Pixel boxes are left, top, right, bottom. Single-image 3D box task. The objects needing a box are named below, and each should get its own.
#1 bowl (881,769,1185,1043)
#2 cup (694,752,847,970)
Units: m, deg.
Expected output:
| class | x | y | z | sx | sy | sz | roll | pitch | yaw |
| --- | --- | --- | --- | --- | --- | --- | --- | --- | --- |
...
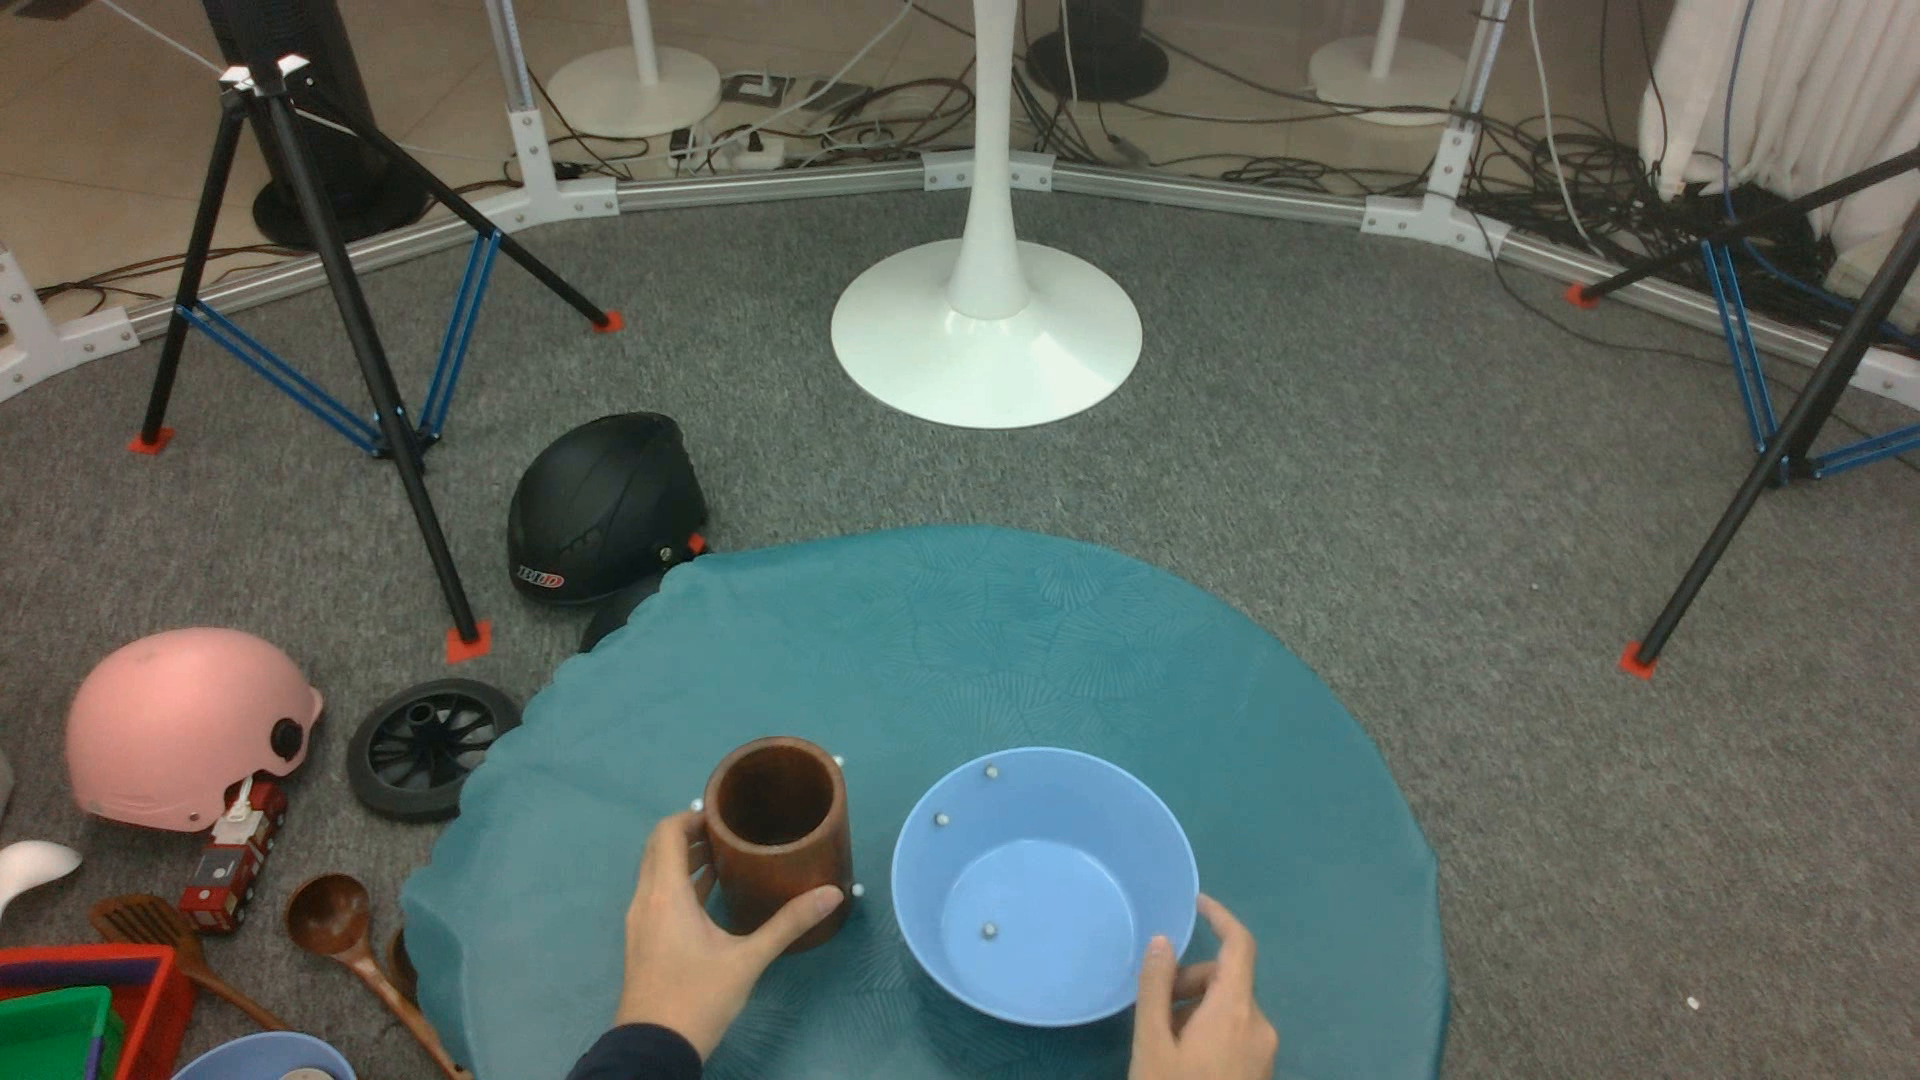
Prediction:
| class | x | y | z | sx | sy | sz | roll | pitch | yaw |
| --- | --- | --- | --- | --- | --- | --- | --- | --- | --- |
| bowl | 0.042 | 0.227 | 0.818 | 0.176 | 0.070 | 0.177 | 1 | 45 | 0 |
| cup | -0.109 | 0.192 | 0.817 | 0.088 | 0.118 | 0.088 | 0 | 47 | 0 |
